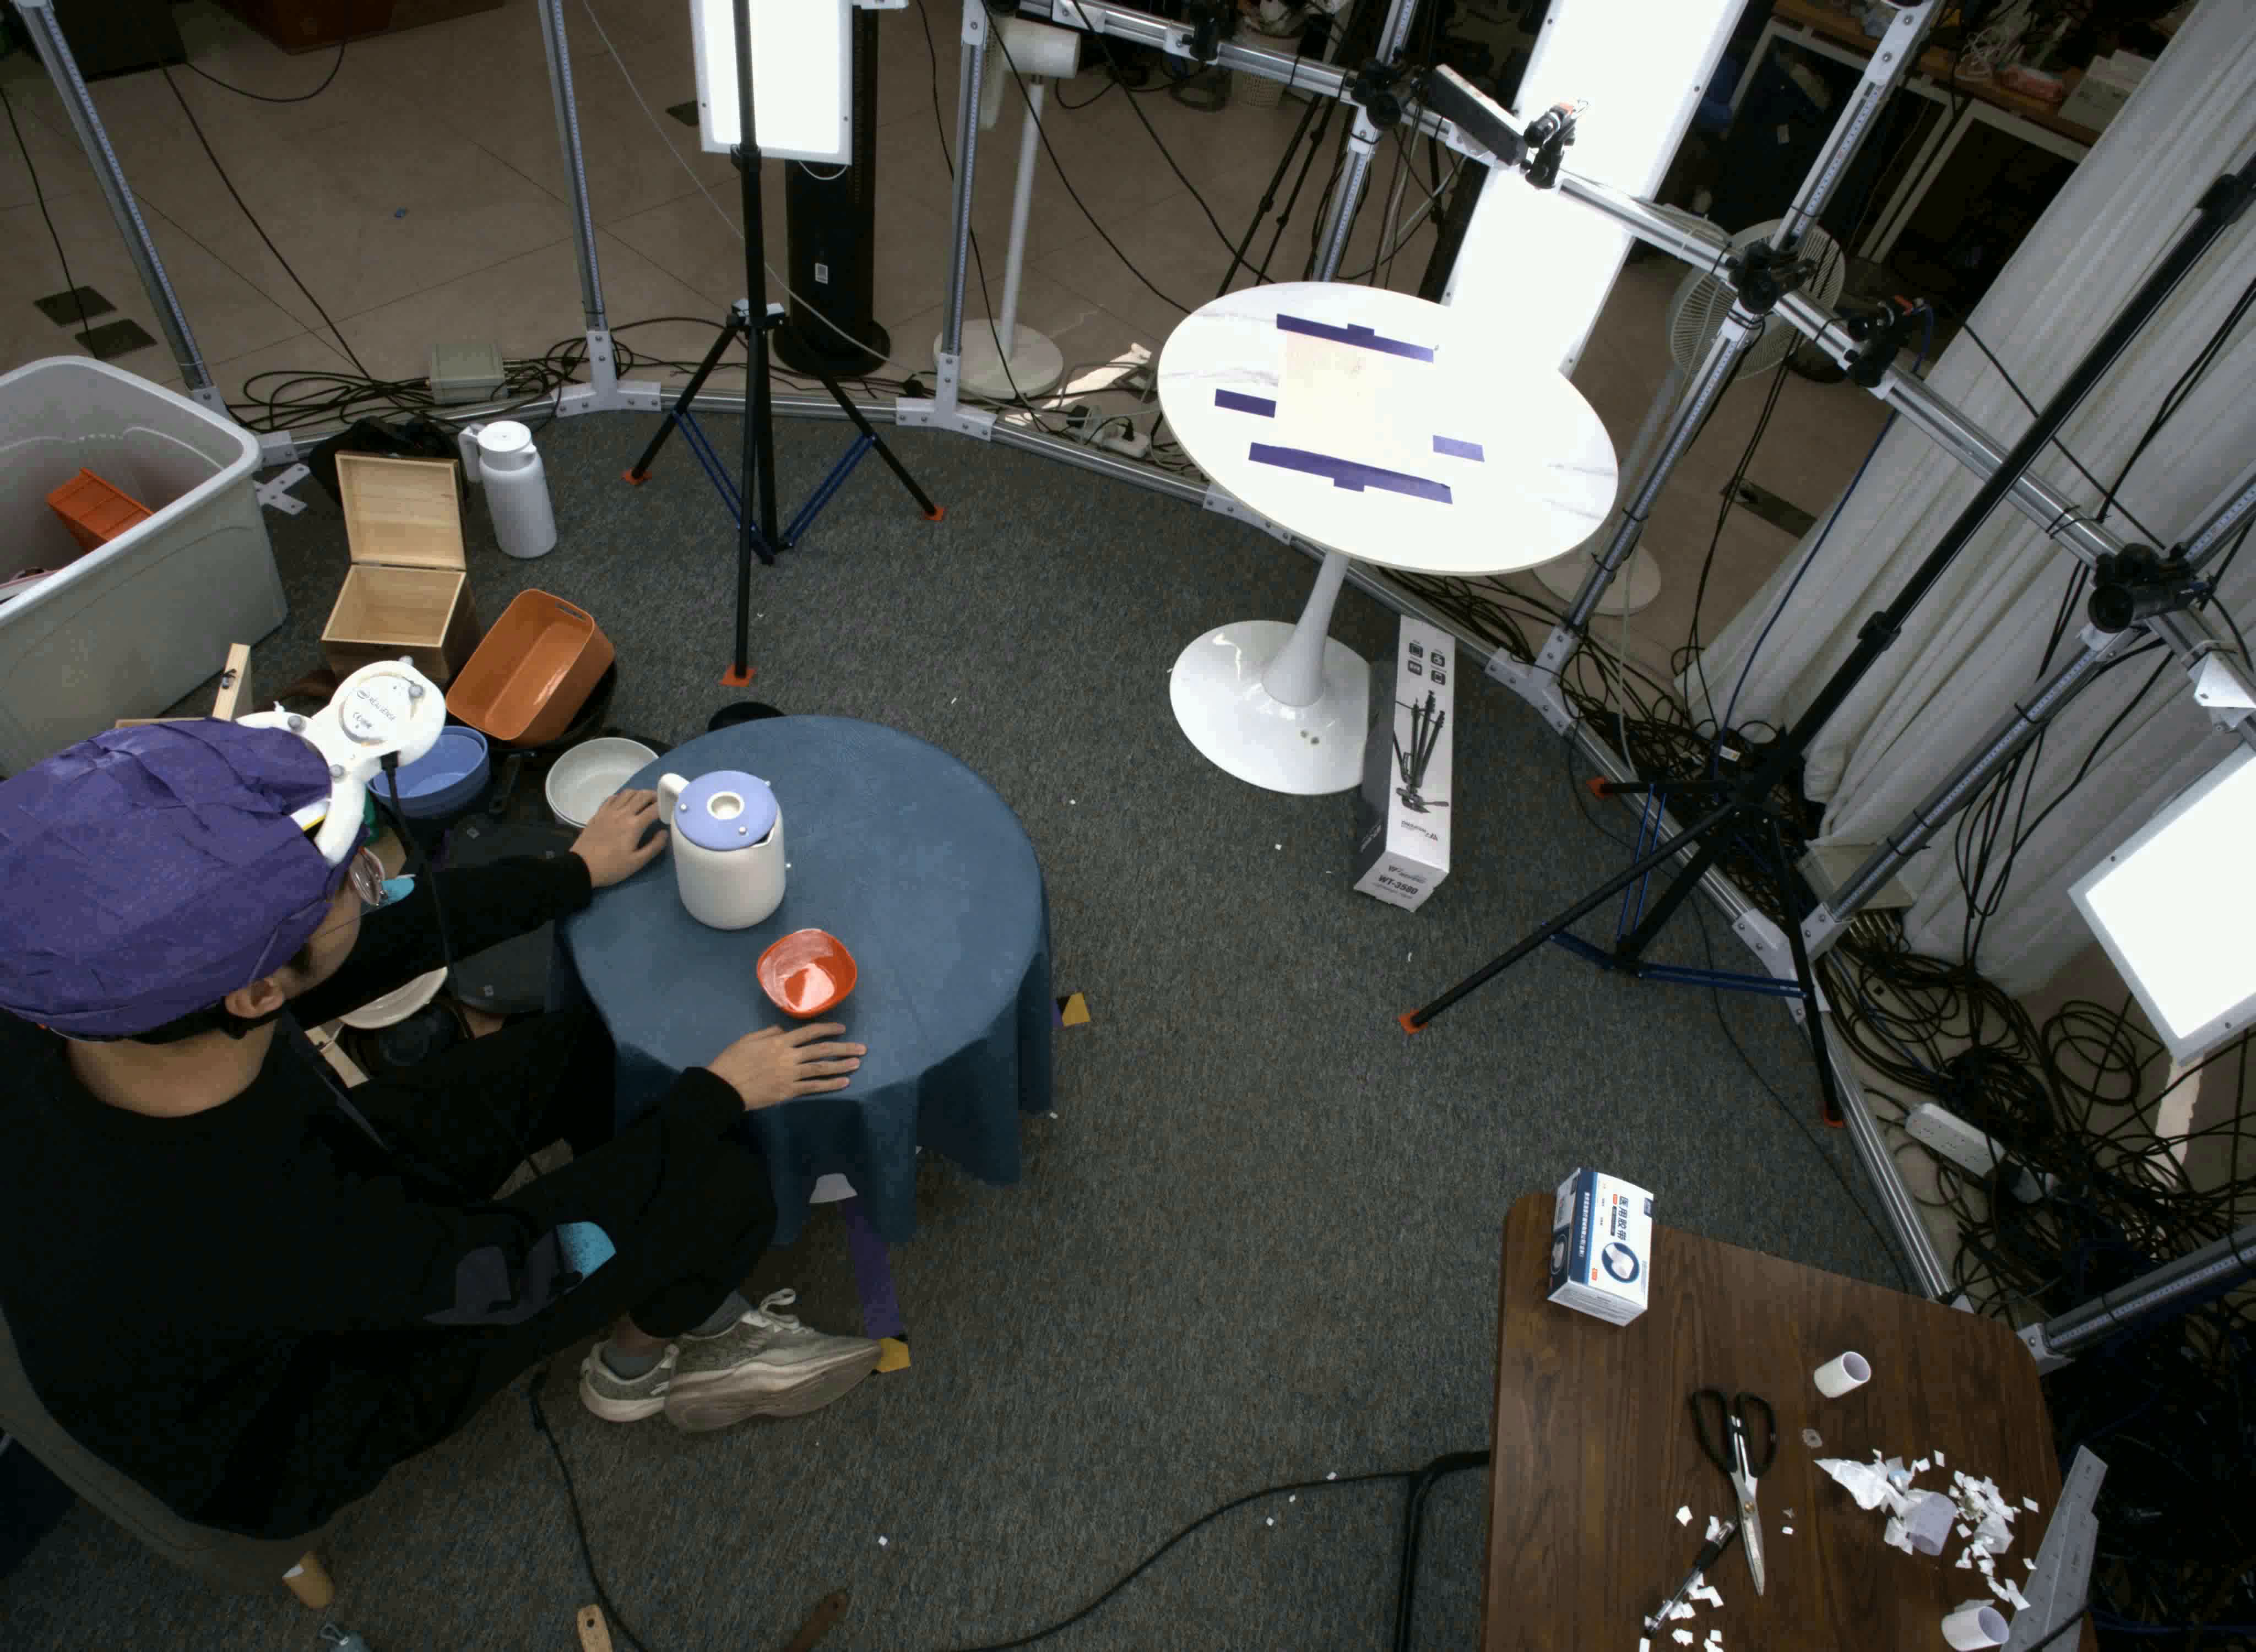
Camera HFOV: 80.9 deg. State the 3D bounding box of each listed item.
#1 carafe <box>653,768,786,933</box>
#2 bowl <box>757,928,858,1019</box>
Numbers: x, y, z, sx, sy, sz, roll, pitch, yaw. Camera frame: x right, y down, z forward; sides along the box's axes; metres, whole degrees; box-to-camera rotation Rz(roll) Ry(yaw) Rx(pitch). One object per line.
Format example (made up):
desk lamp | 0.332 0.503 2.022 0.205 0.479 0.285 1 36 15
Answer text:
carafe | -0.509 0.017 1.585 0.187 0.187 0.132 30 51 13
bowl | -0.388 0.185 1.568 0.119 0.052 0.117 10 52 -11
